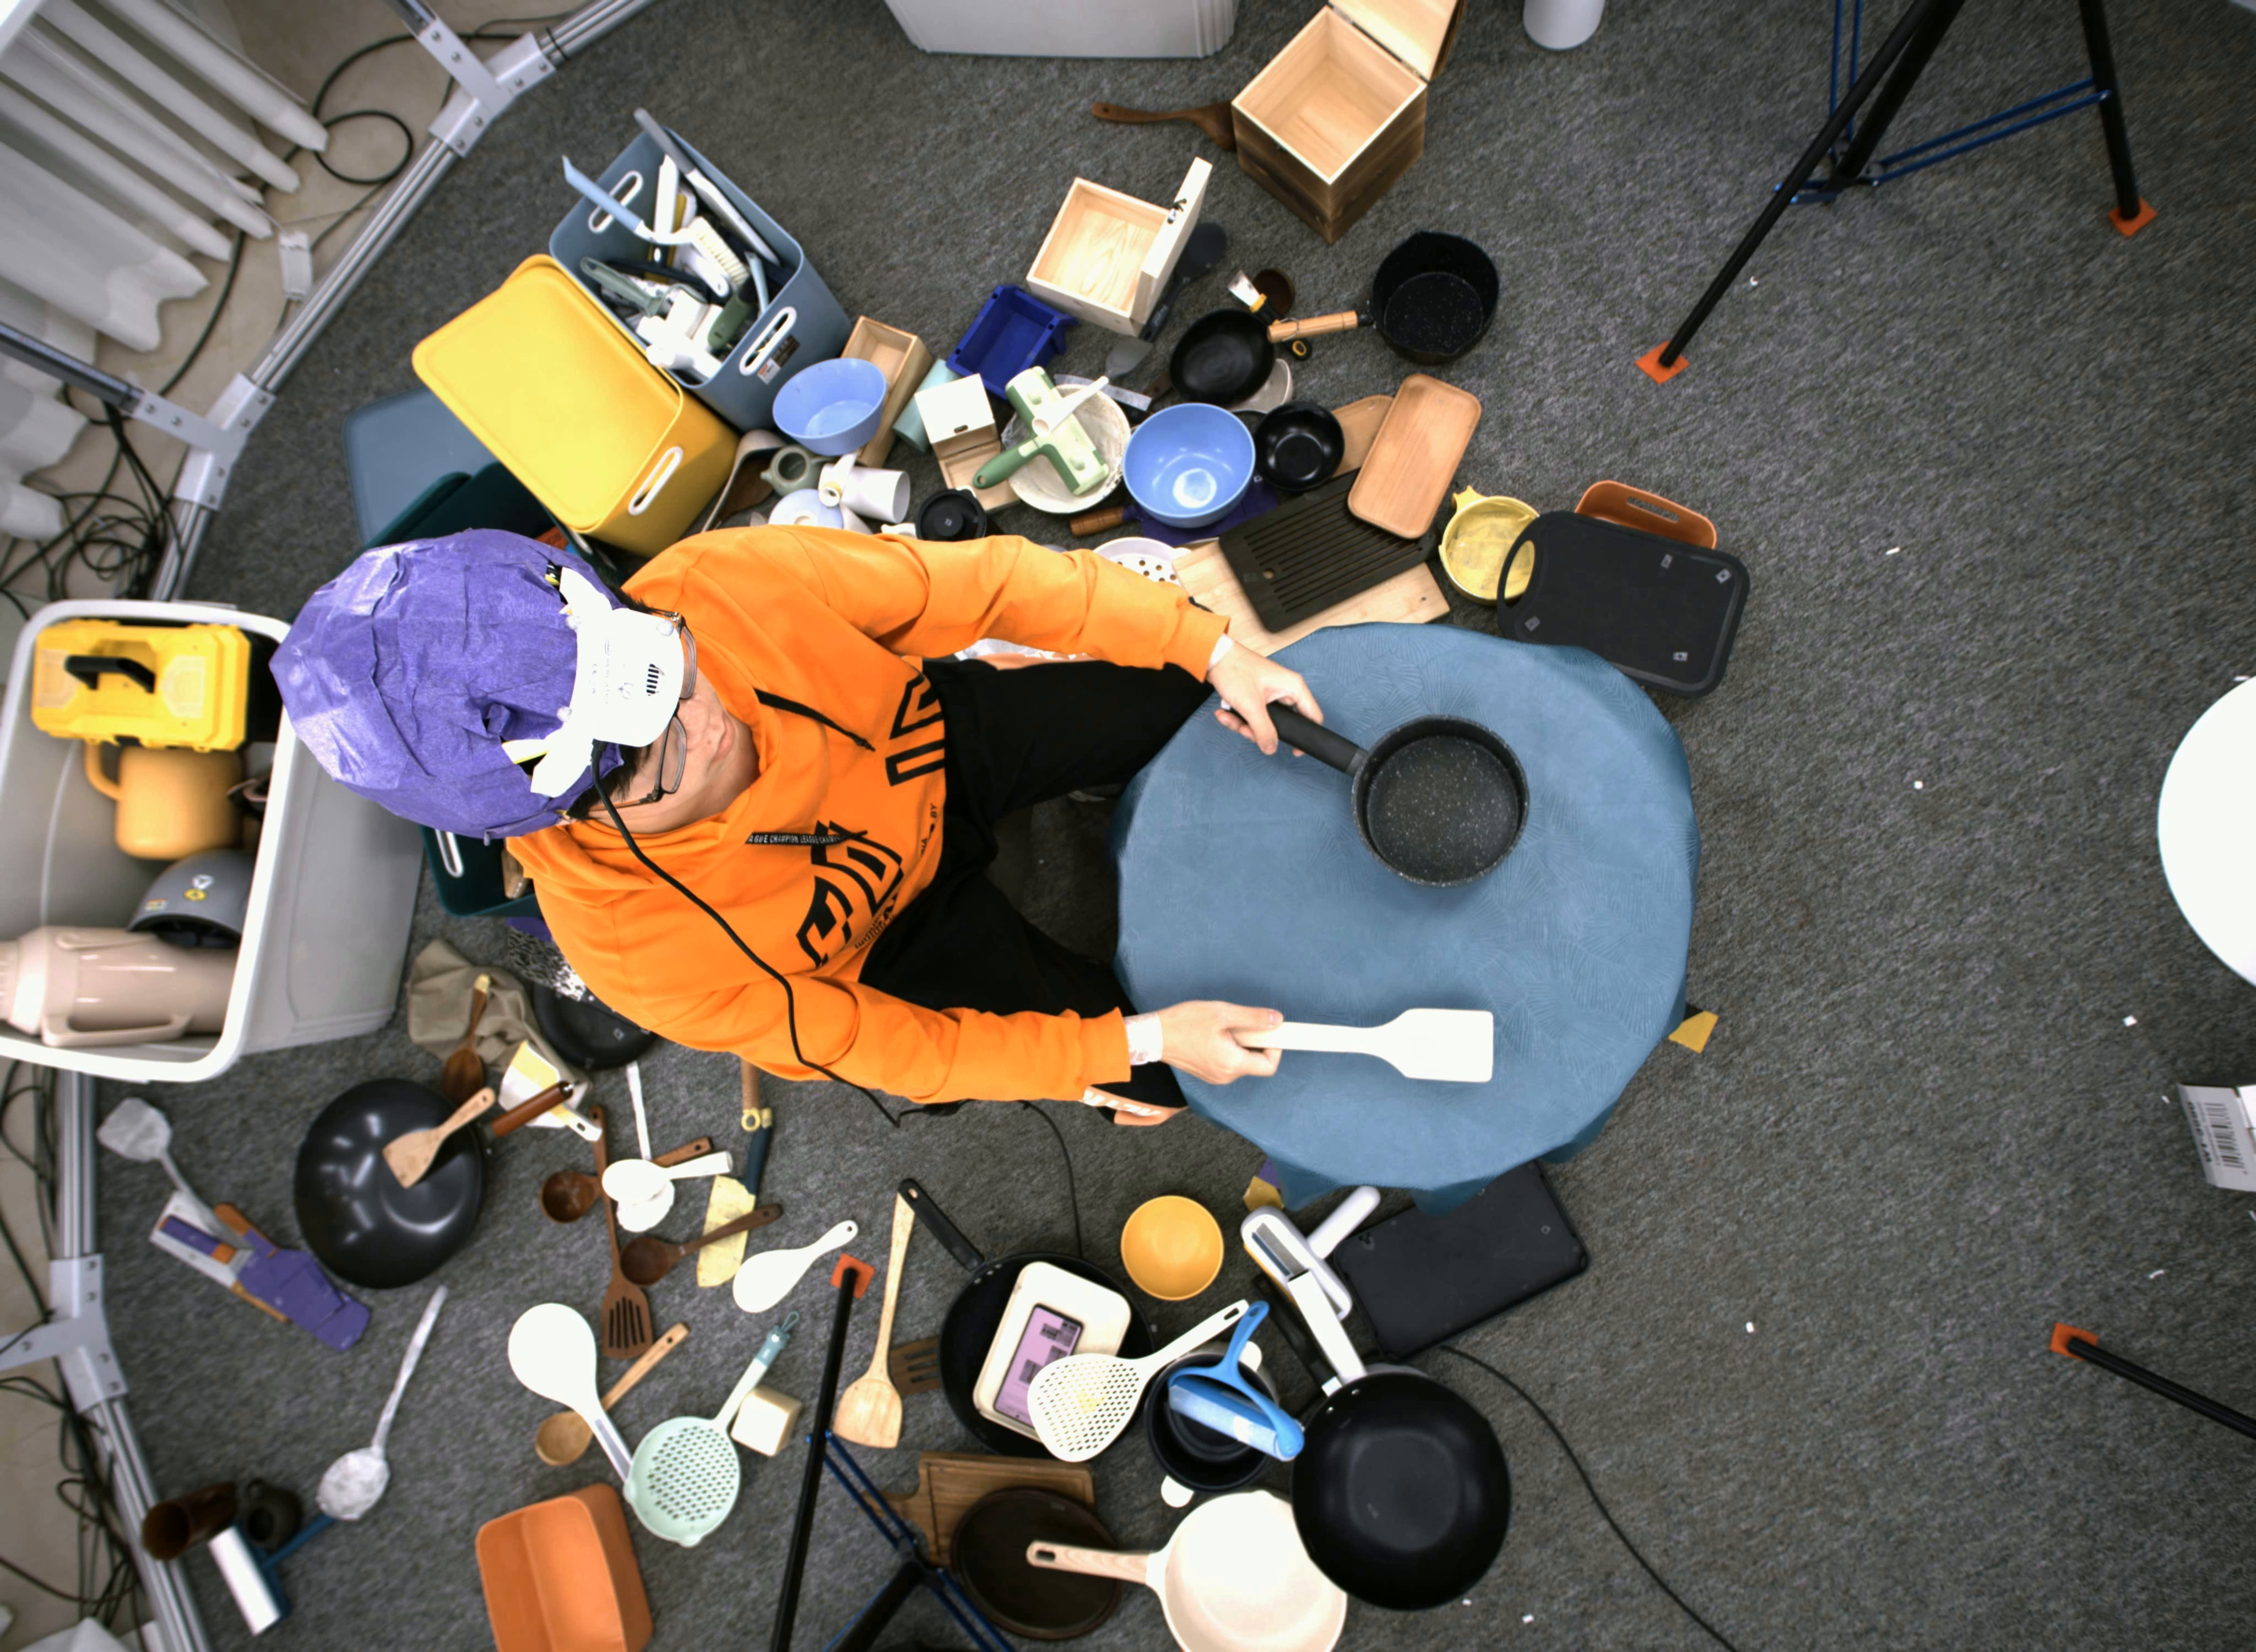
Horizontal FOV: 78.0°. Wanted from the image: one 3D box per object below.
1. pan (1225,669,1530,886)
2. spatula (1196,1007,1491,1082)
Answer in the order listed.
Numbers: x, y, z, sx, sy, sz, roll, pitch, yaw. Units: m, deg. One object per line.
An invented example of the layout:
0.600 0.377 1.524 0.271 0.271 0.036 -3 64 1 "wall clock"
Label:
0.248 -0.062 1.401 0.328 0.086 0.172 31 92 14 "pan"
0.214 0.211 1.388 0.294 0.011 0.072 2 85 9 "spatula"
